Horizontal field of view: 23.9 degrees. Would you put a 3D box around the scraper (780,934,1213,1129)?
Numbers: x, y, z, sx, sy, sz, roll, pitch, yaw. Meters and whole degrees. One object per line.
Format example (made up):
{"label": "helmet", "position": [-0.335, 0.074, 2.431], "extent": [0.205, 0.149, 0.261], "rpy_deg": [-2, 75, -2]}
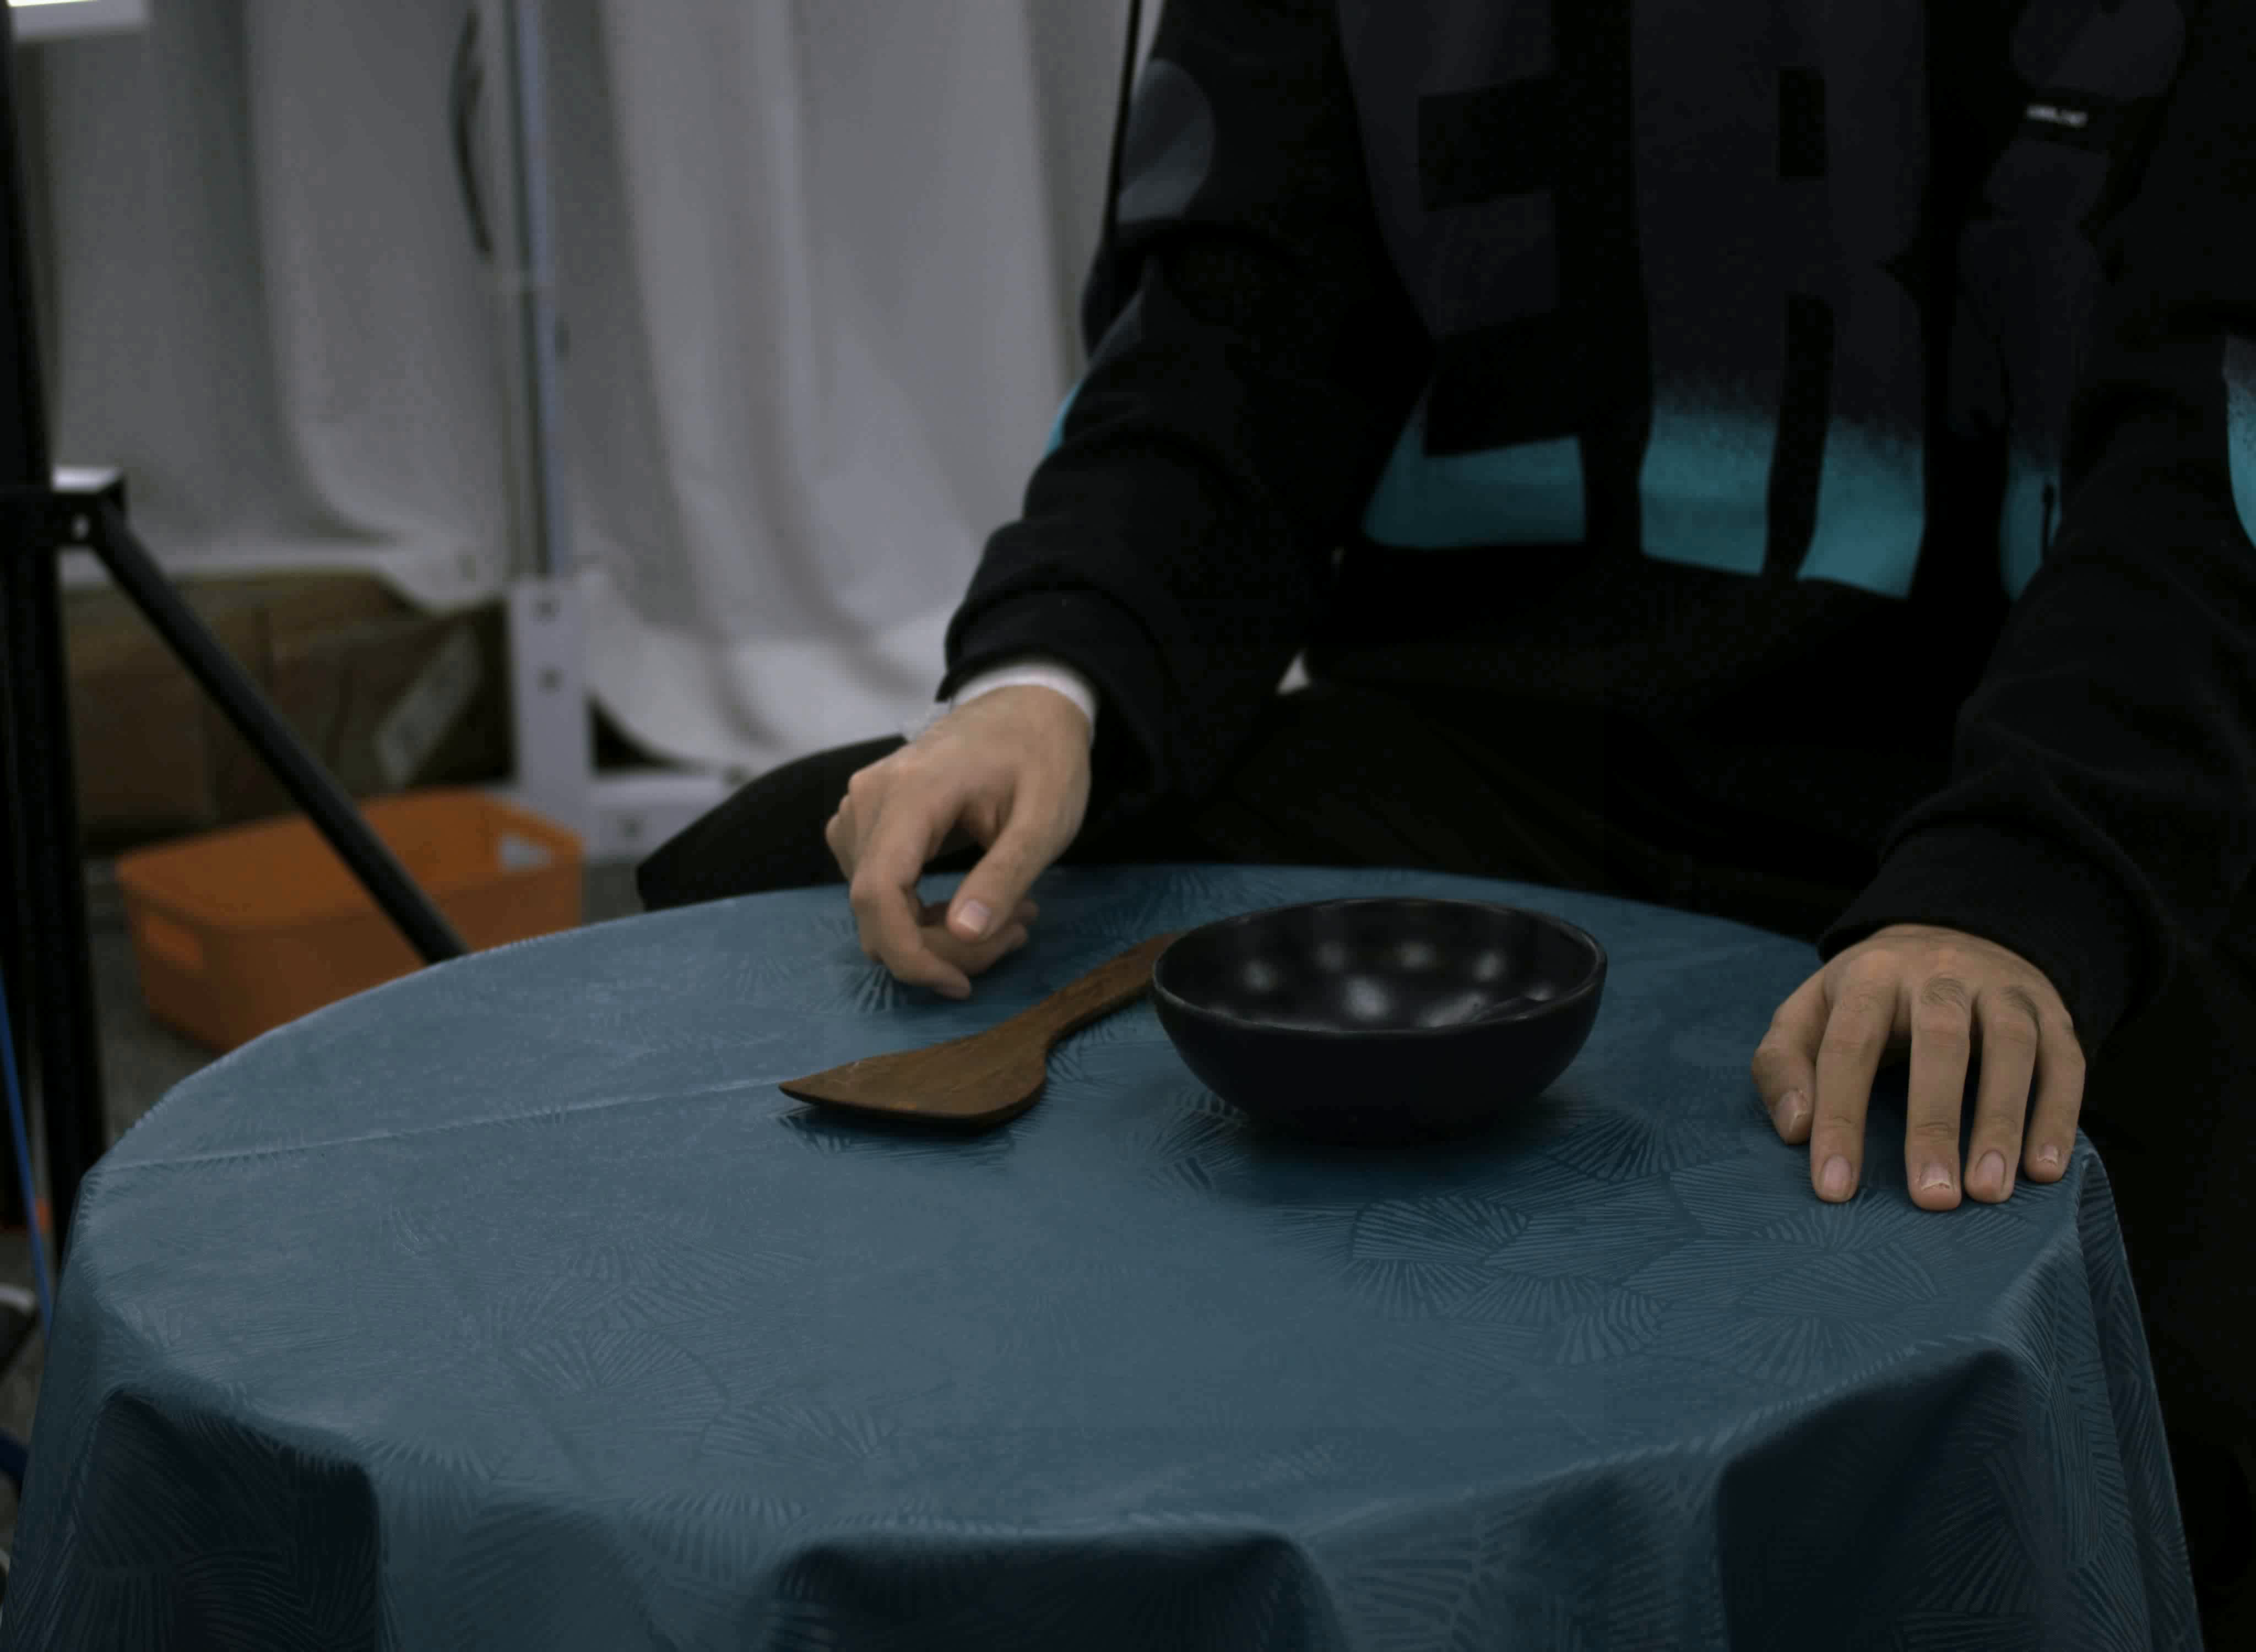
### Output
{"label": "scraper", "position": [-0.027, 0.064, 1.703], "extent": [0.077, 0.011, 0.207], "rpy_deg": [8, 18, 30]}

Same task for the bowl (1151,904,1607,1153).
{"label": "bowl", "position": [0.078, 0.066, 1.609], "extent": [0.139, 0.050, 0.140], "rpy_deg": [-5, 14, 0]}
